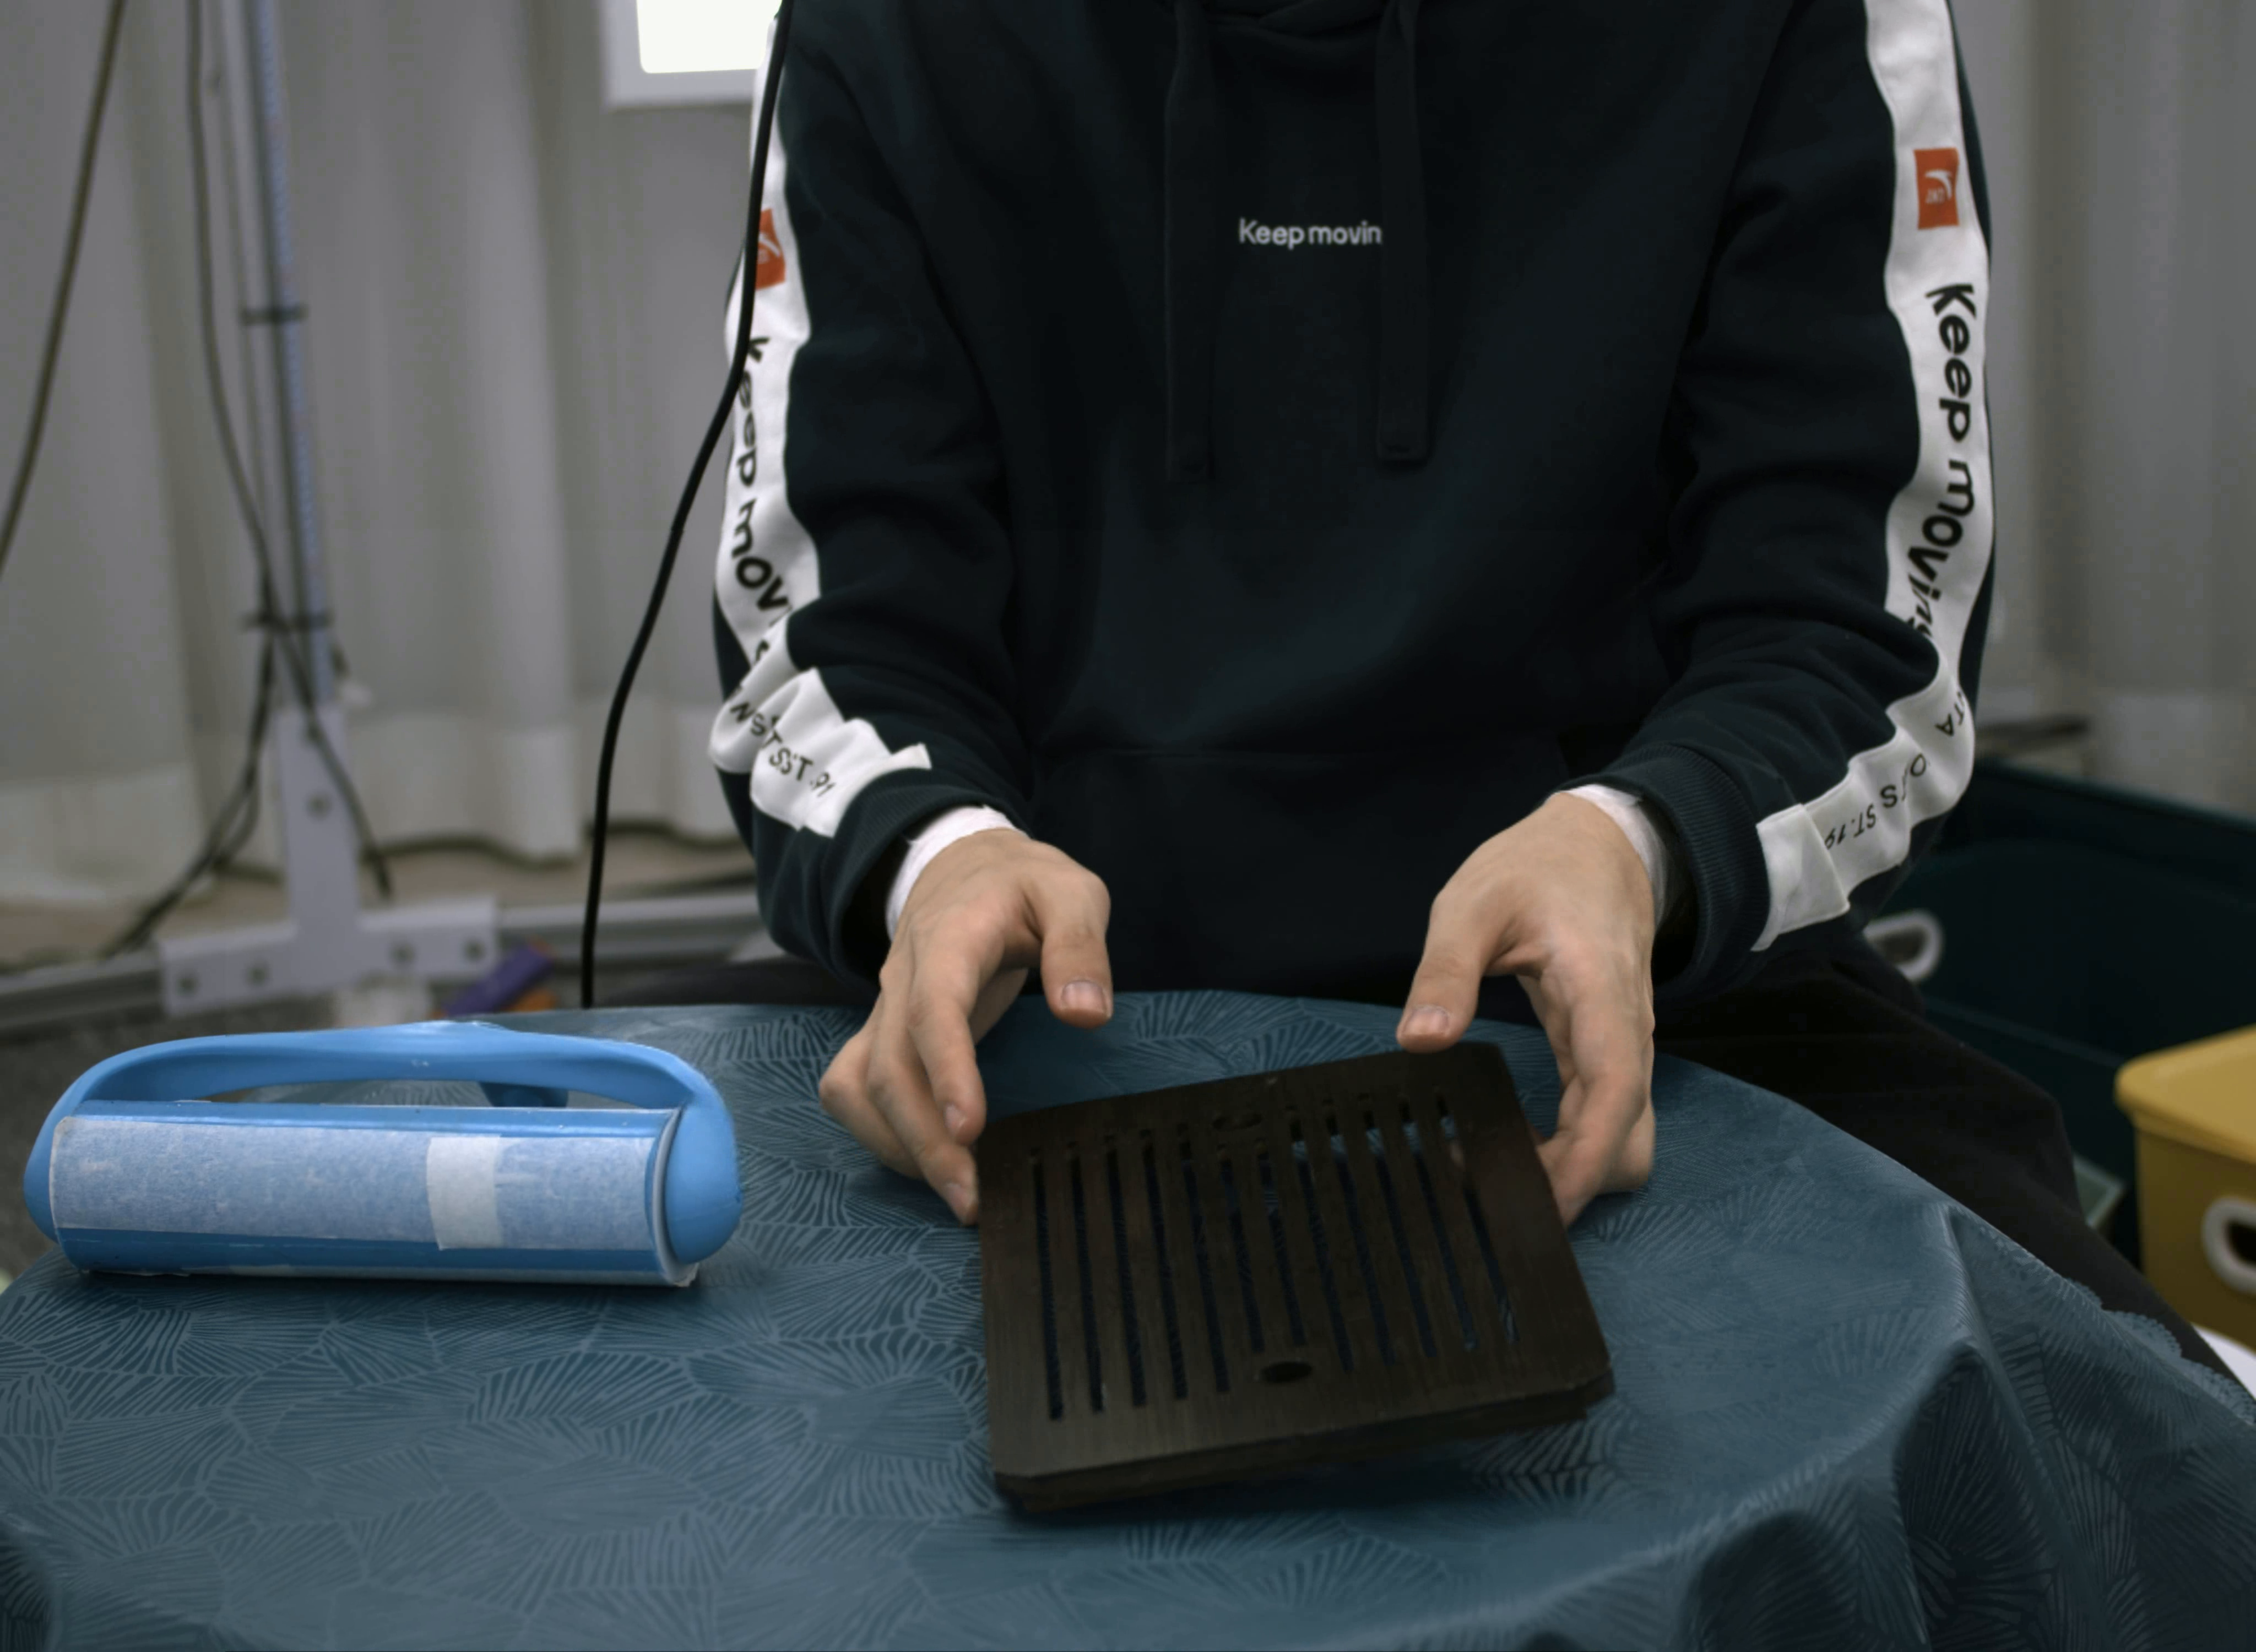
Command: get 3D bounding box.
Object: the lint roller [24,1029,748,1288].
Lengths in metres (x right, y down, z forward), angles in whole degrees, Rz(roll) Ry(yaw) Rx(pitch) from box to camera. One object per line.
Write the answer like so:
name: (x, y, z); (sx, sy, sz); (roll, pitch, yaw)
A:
lint roller: (-0.218, 0.094, 1.723); (0.228, 0.067, 0.181); (-2, 16, 11)

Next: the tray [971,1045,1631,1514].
tray: (0.043, 0.128, 1.591); (0.169, 0.018, 0.308); (-9, 15, -1)
